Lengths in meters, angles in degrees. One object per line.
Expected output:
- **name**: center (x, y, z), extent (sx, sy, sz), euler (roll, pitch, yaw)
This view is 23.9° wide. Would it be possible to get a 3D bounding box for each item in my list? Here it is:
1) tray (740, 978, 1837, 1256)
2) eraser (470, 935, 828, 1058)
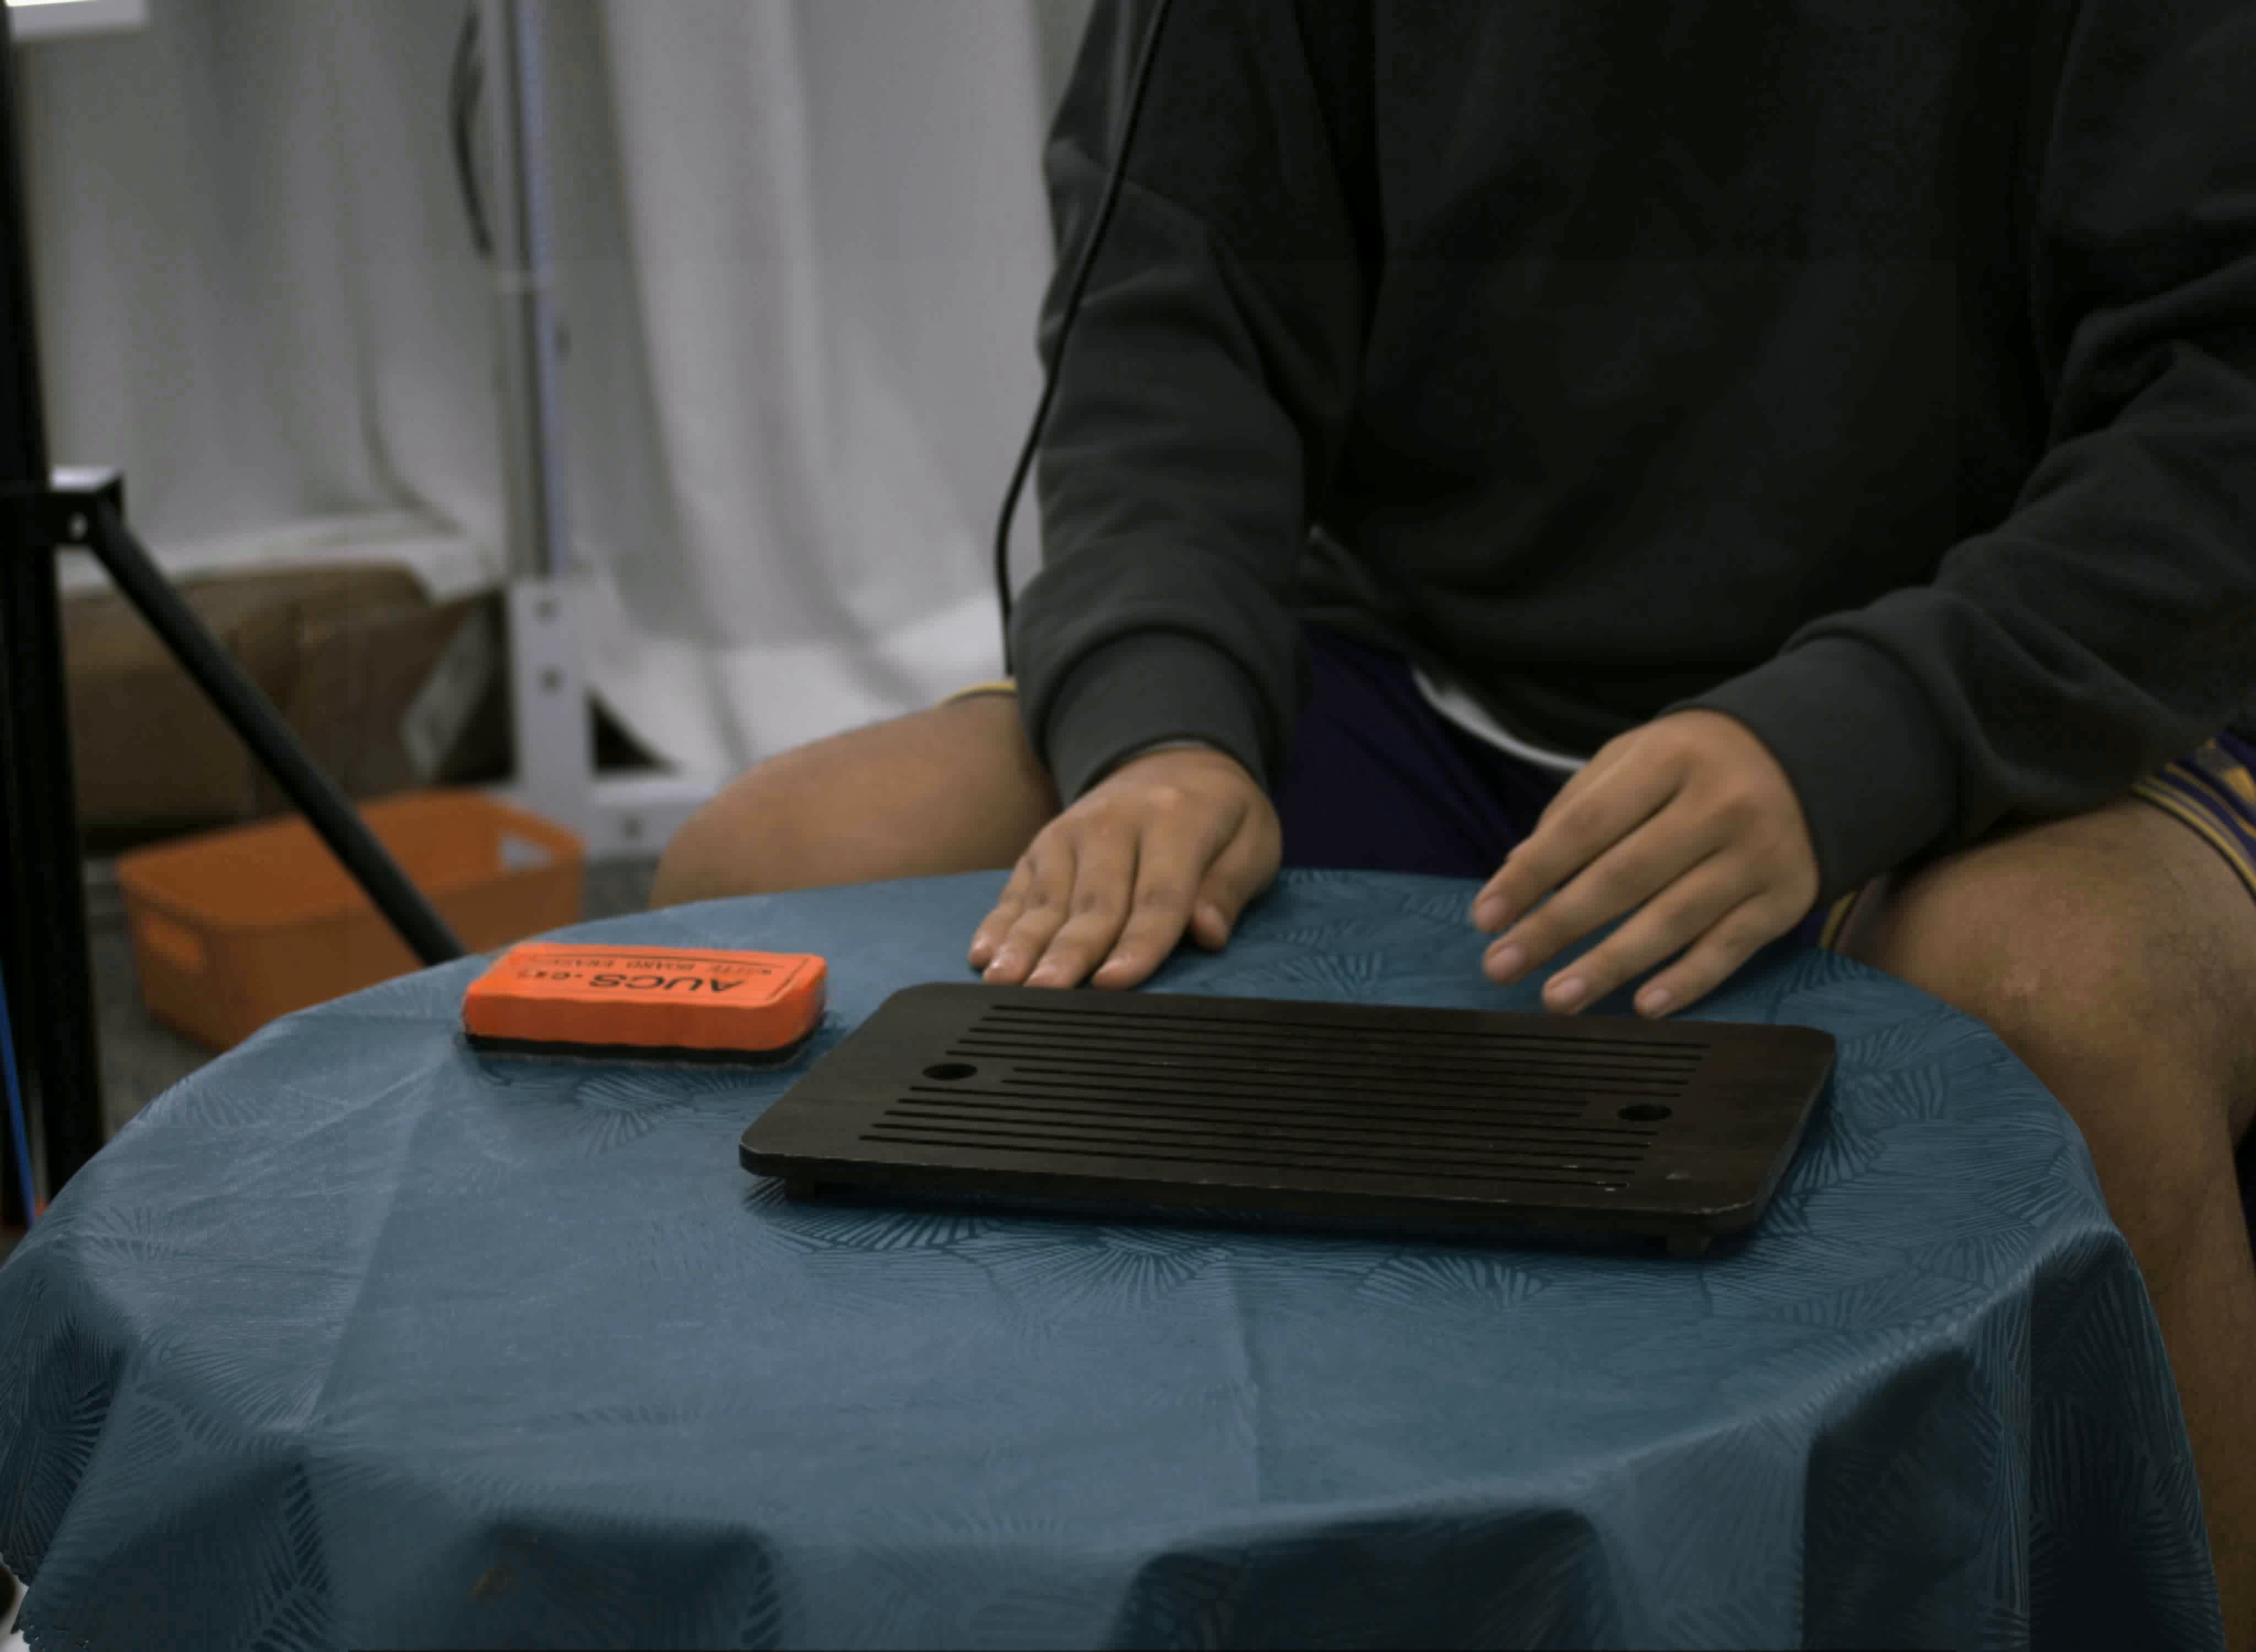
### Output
- **tray**: center (0.051, 0.086, 1.597), extent (0.309, 0.018, 0.168), euler (2, 17, 18)
- **eraser**: center (-0.154, 0.055, 1.719), extent (0.109, 0.023, 0.058), euler (1, 16, 17)
